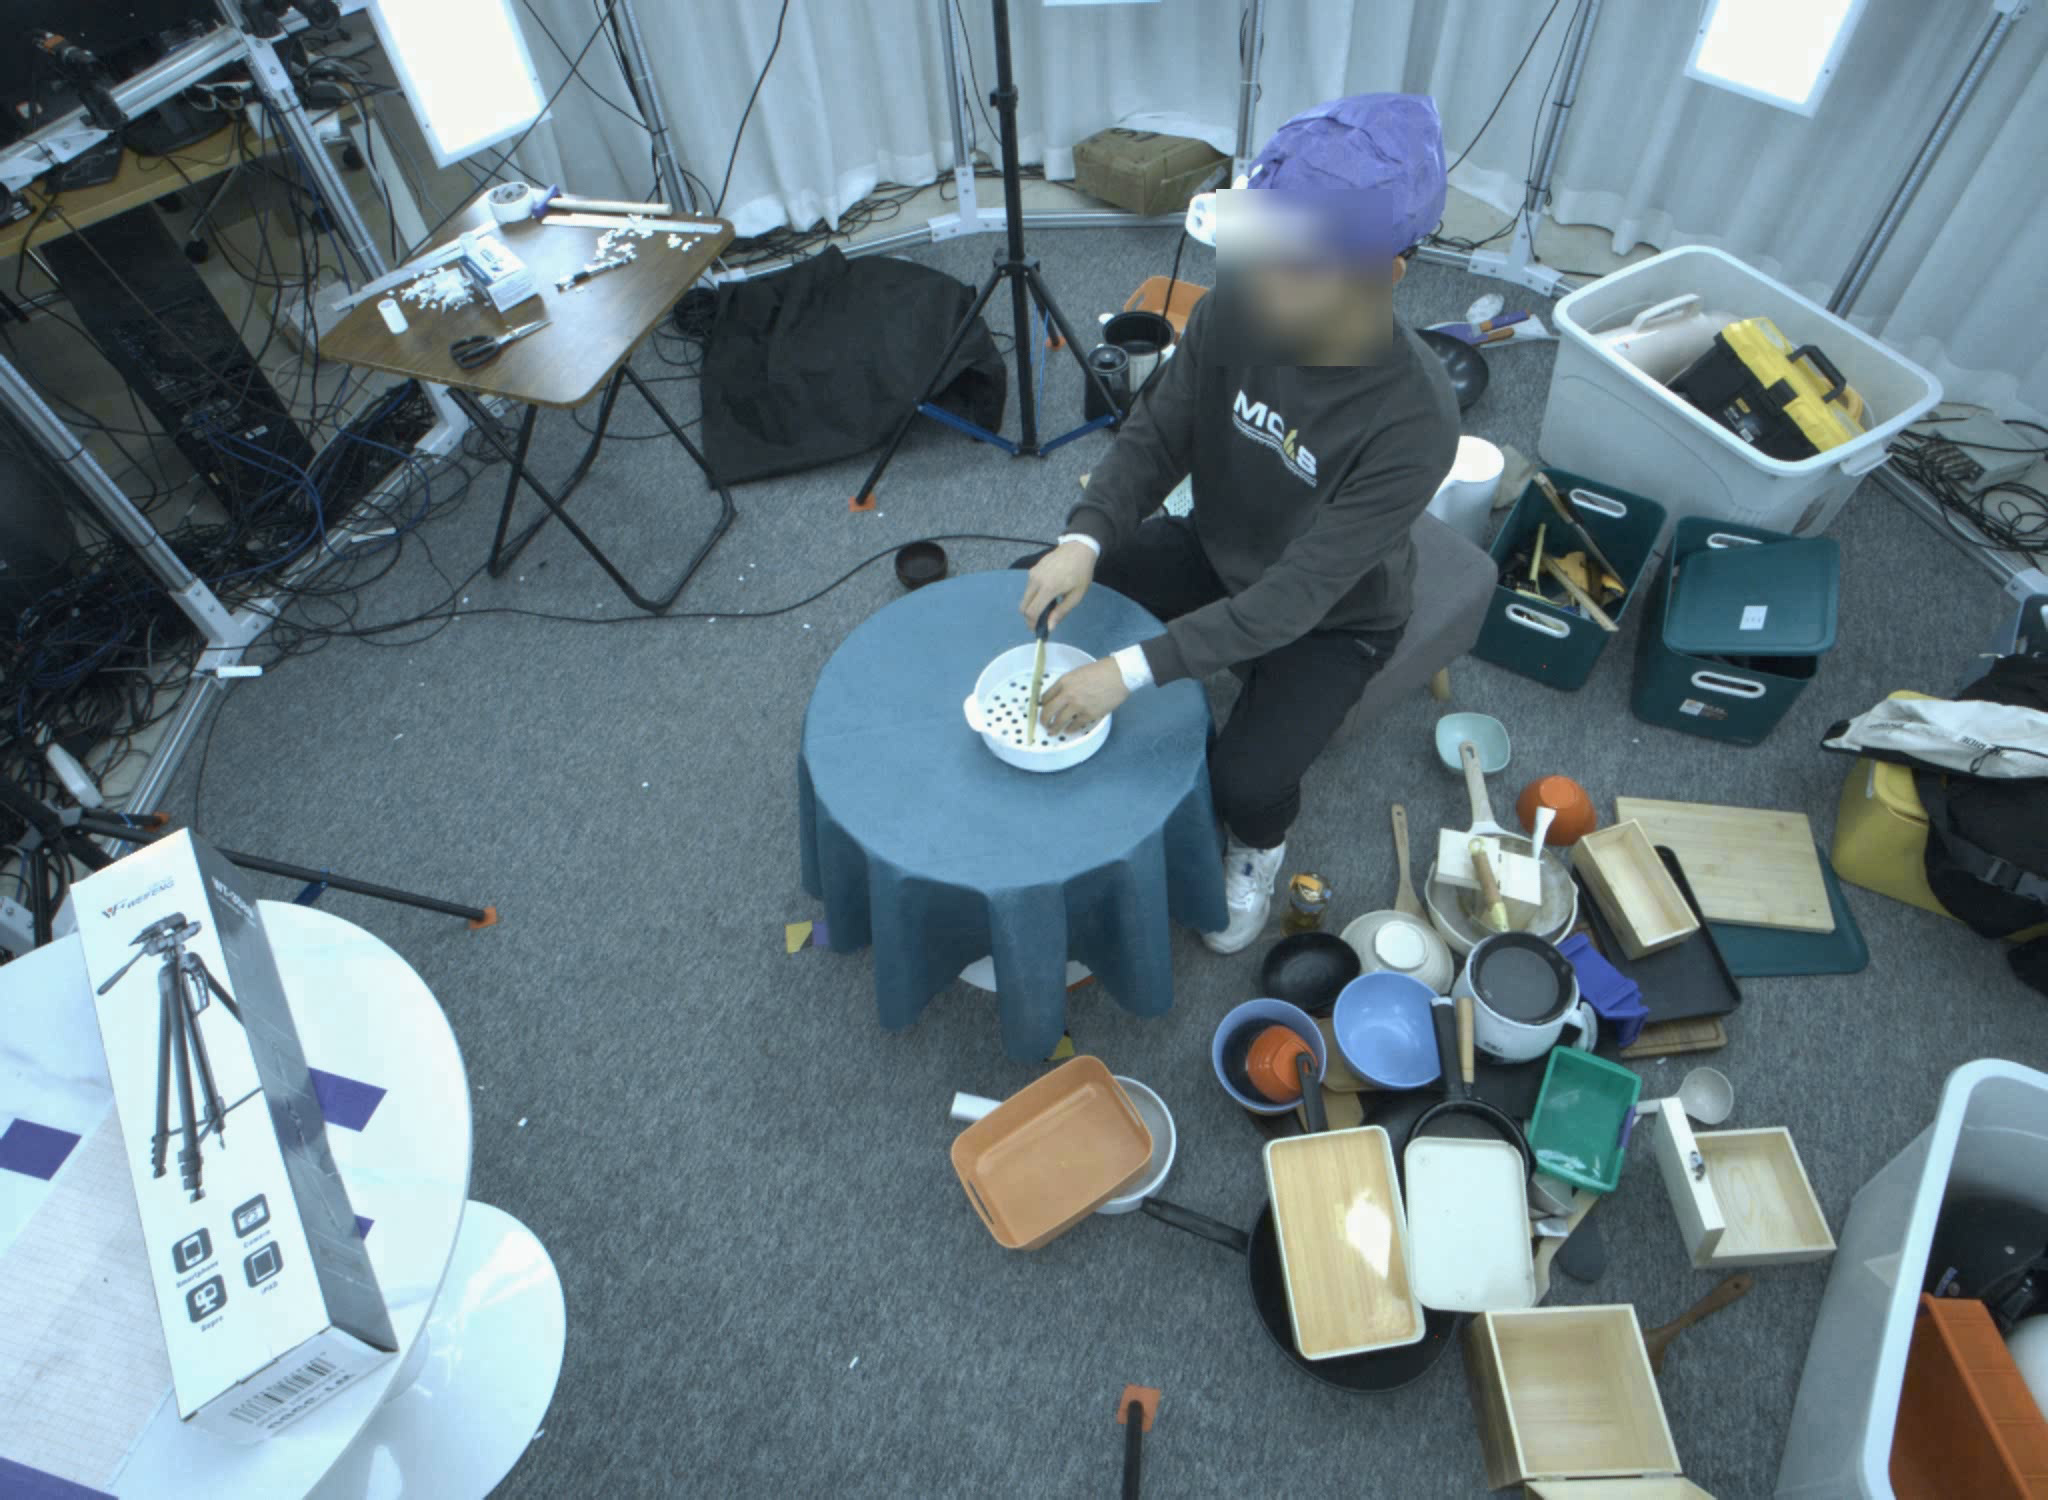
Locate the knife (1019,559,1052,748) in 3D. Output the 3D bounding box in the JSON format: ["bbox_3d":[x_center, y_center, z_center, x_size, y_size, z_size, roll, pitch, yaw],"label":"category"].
[{"bbox_3d":[0.018,-0.140,1.769,0.027,0.082,0.288,-1,71,20],"label":"knife"}]

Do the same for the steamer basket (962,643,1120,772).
[{"bbox_3d":[0.025,-0.060,1.796,0.232,0.070,0.198,-13,56,-10],"label":"steamer basket"}]
